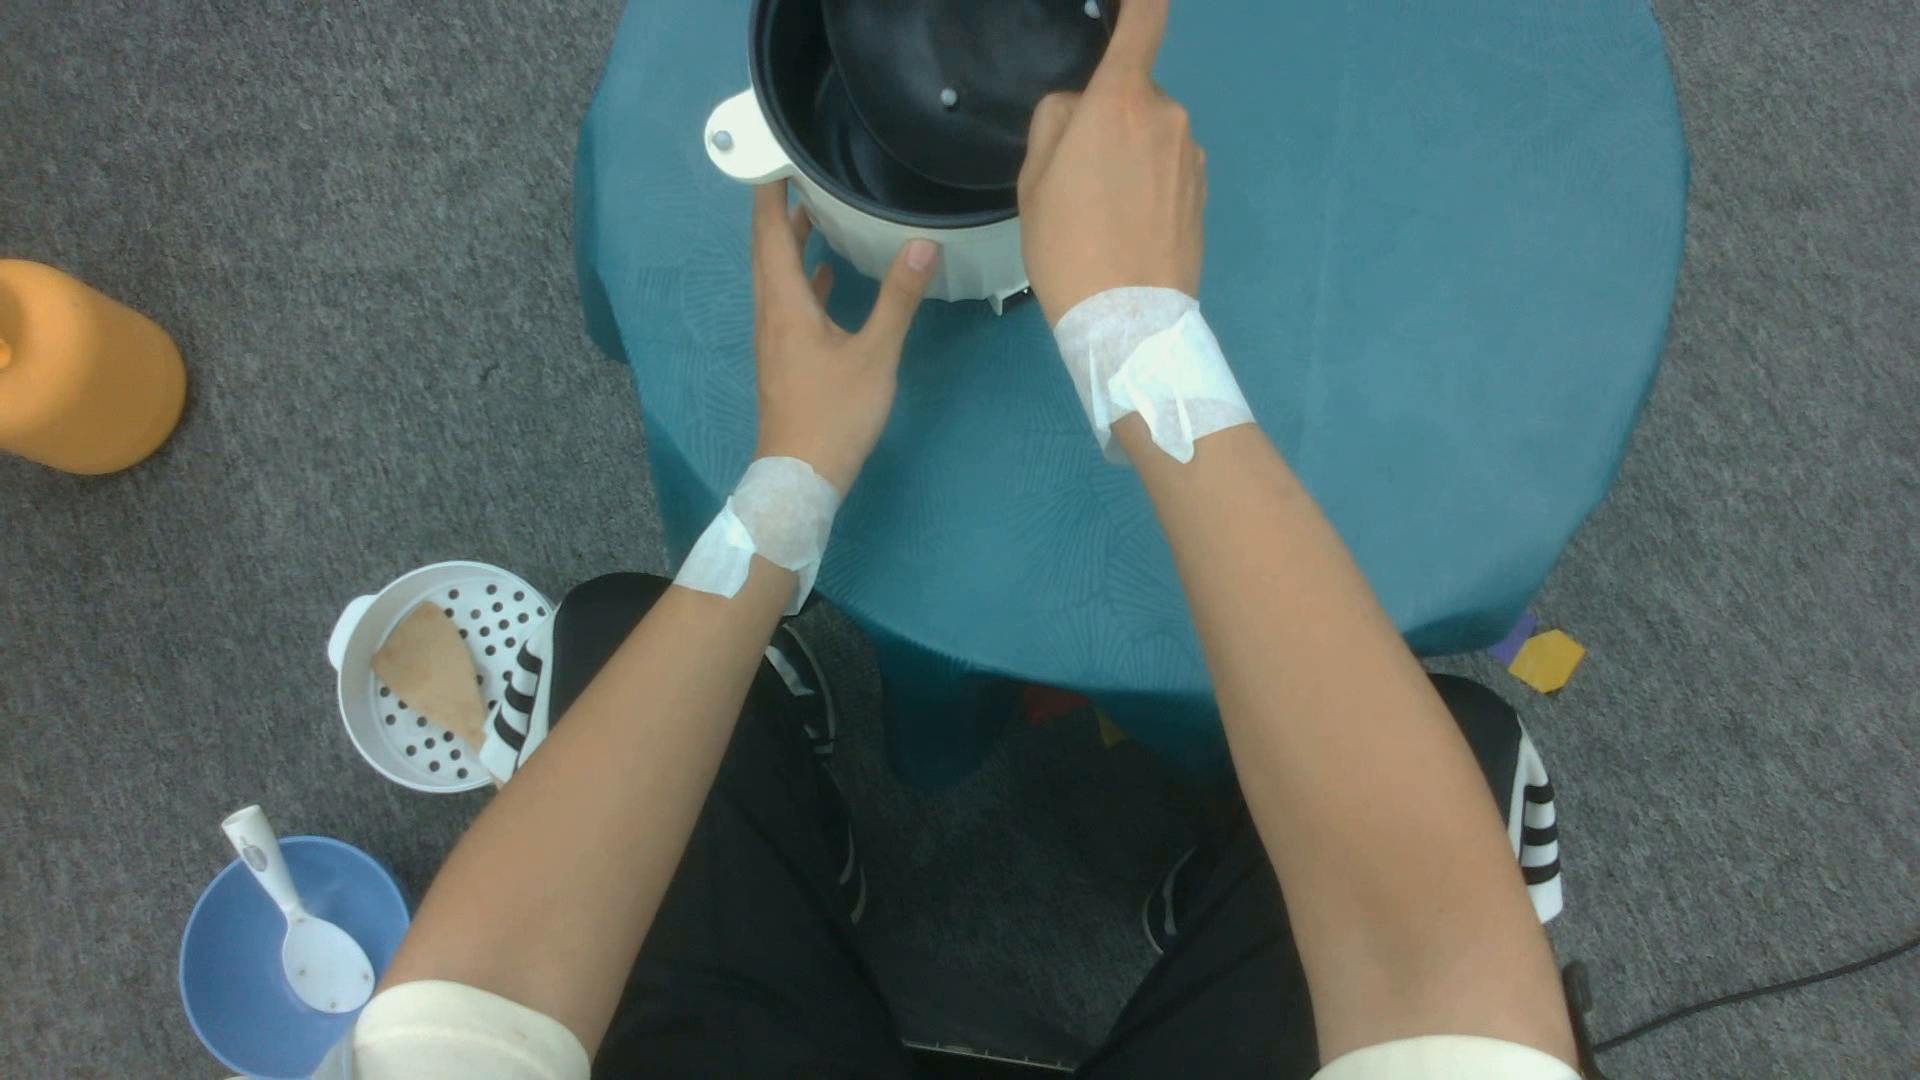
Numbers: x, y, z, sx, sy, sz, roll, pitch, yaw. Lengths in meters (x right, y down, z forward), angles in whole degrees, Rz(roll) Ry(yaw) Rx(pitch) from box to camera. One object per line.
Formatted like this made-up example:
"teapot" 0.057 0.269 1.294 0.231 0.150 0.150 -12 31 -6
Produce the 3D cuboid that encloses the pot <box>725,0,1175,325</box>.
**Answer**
"pot" -0.003 -0.215 0.708 0.240 0.142 0.190 -28 83 -4

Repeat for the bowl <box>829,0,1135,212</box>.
"bowl" 0.017 -0.224 0.622 0.170 0.136 0.067 30 42 32
